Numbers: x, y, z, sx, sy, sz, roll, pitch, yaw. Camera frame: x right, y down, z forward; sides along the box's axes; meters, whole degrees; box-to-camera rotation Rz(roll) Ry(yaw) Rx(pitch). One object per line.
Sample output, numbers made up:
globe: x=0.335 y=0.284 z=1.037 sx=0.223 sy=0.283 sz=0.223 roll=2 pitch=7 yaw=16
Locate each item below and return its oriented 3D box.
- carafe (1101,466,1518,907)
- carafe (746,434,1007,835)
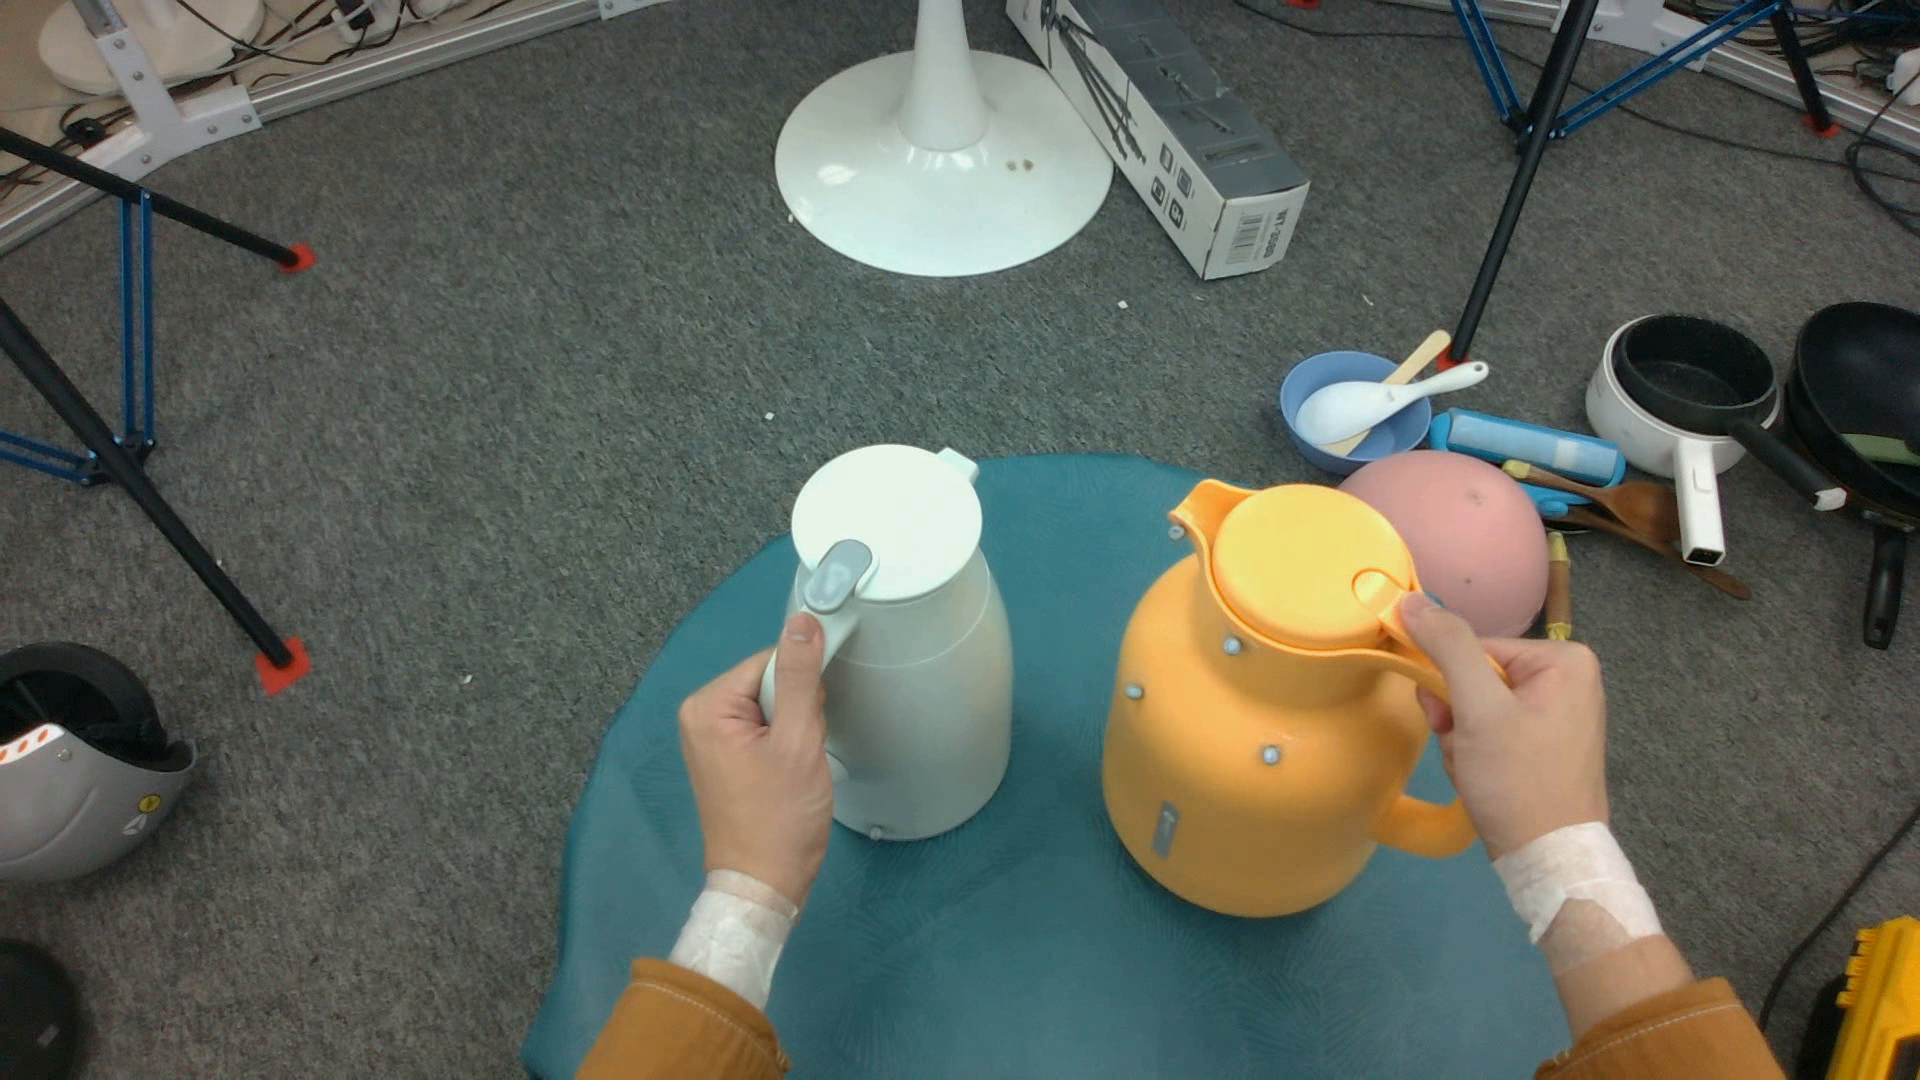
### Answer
carafe: x=0.173 y=0.086 z=0.717 sx=0.202 sy=0.259 sz=0.164 roll=36 pitch=62 yaw=26
carafe: x=-0.048 y=0.064 z=0.741 sx=0.132 sy=0.247 sz=0.168 roll=29 pitch=61 yaw=18
